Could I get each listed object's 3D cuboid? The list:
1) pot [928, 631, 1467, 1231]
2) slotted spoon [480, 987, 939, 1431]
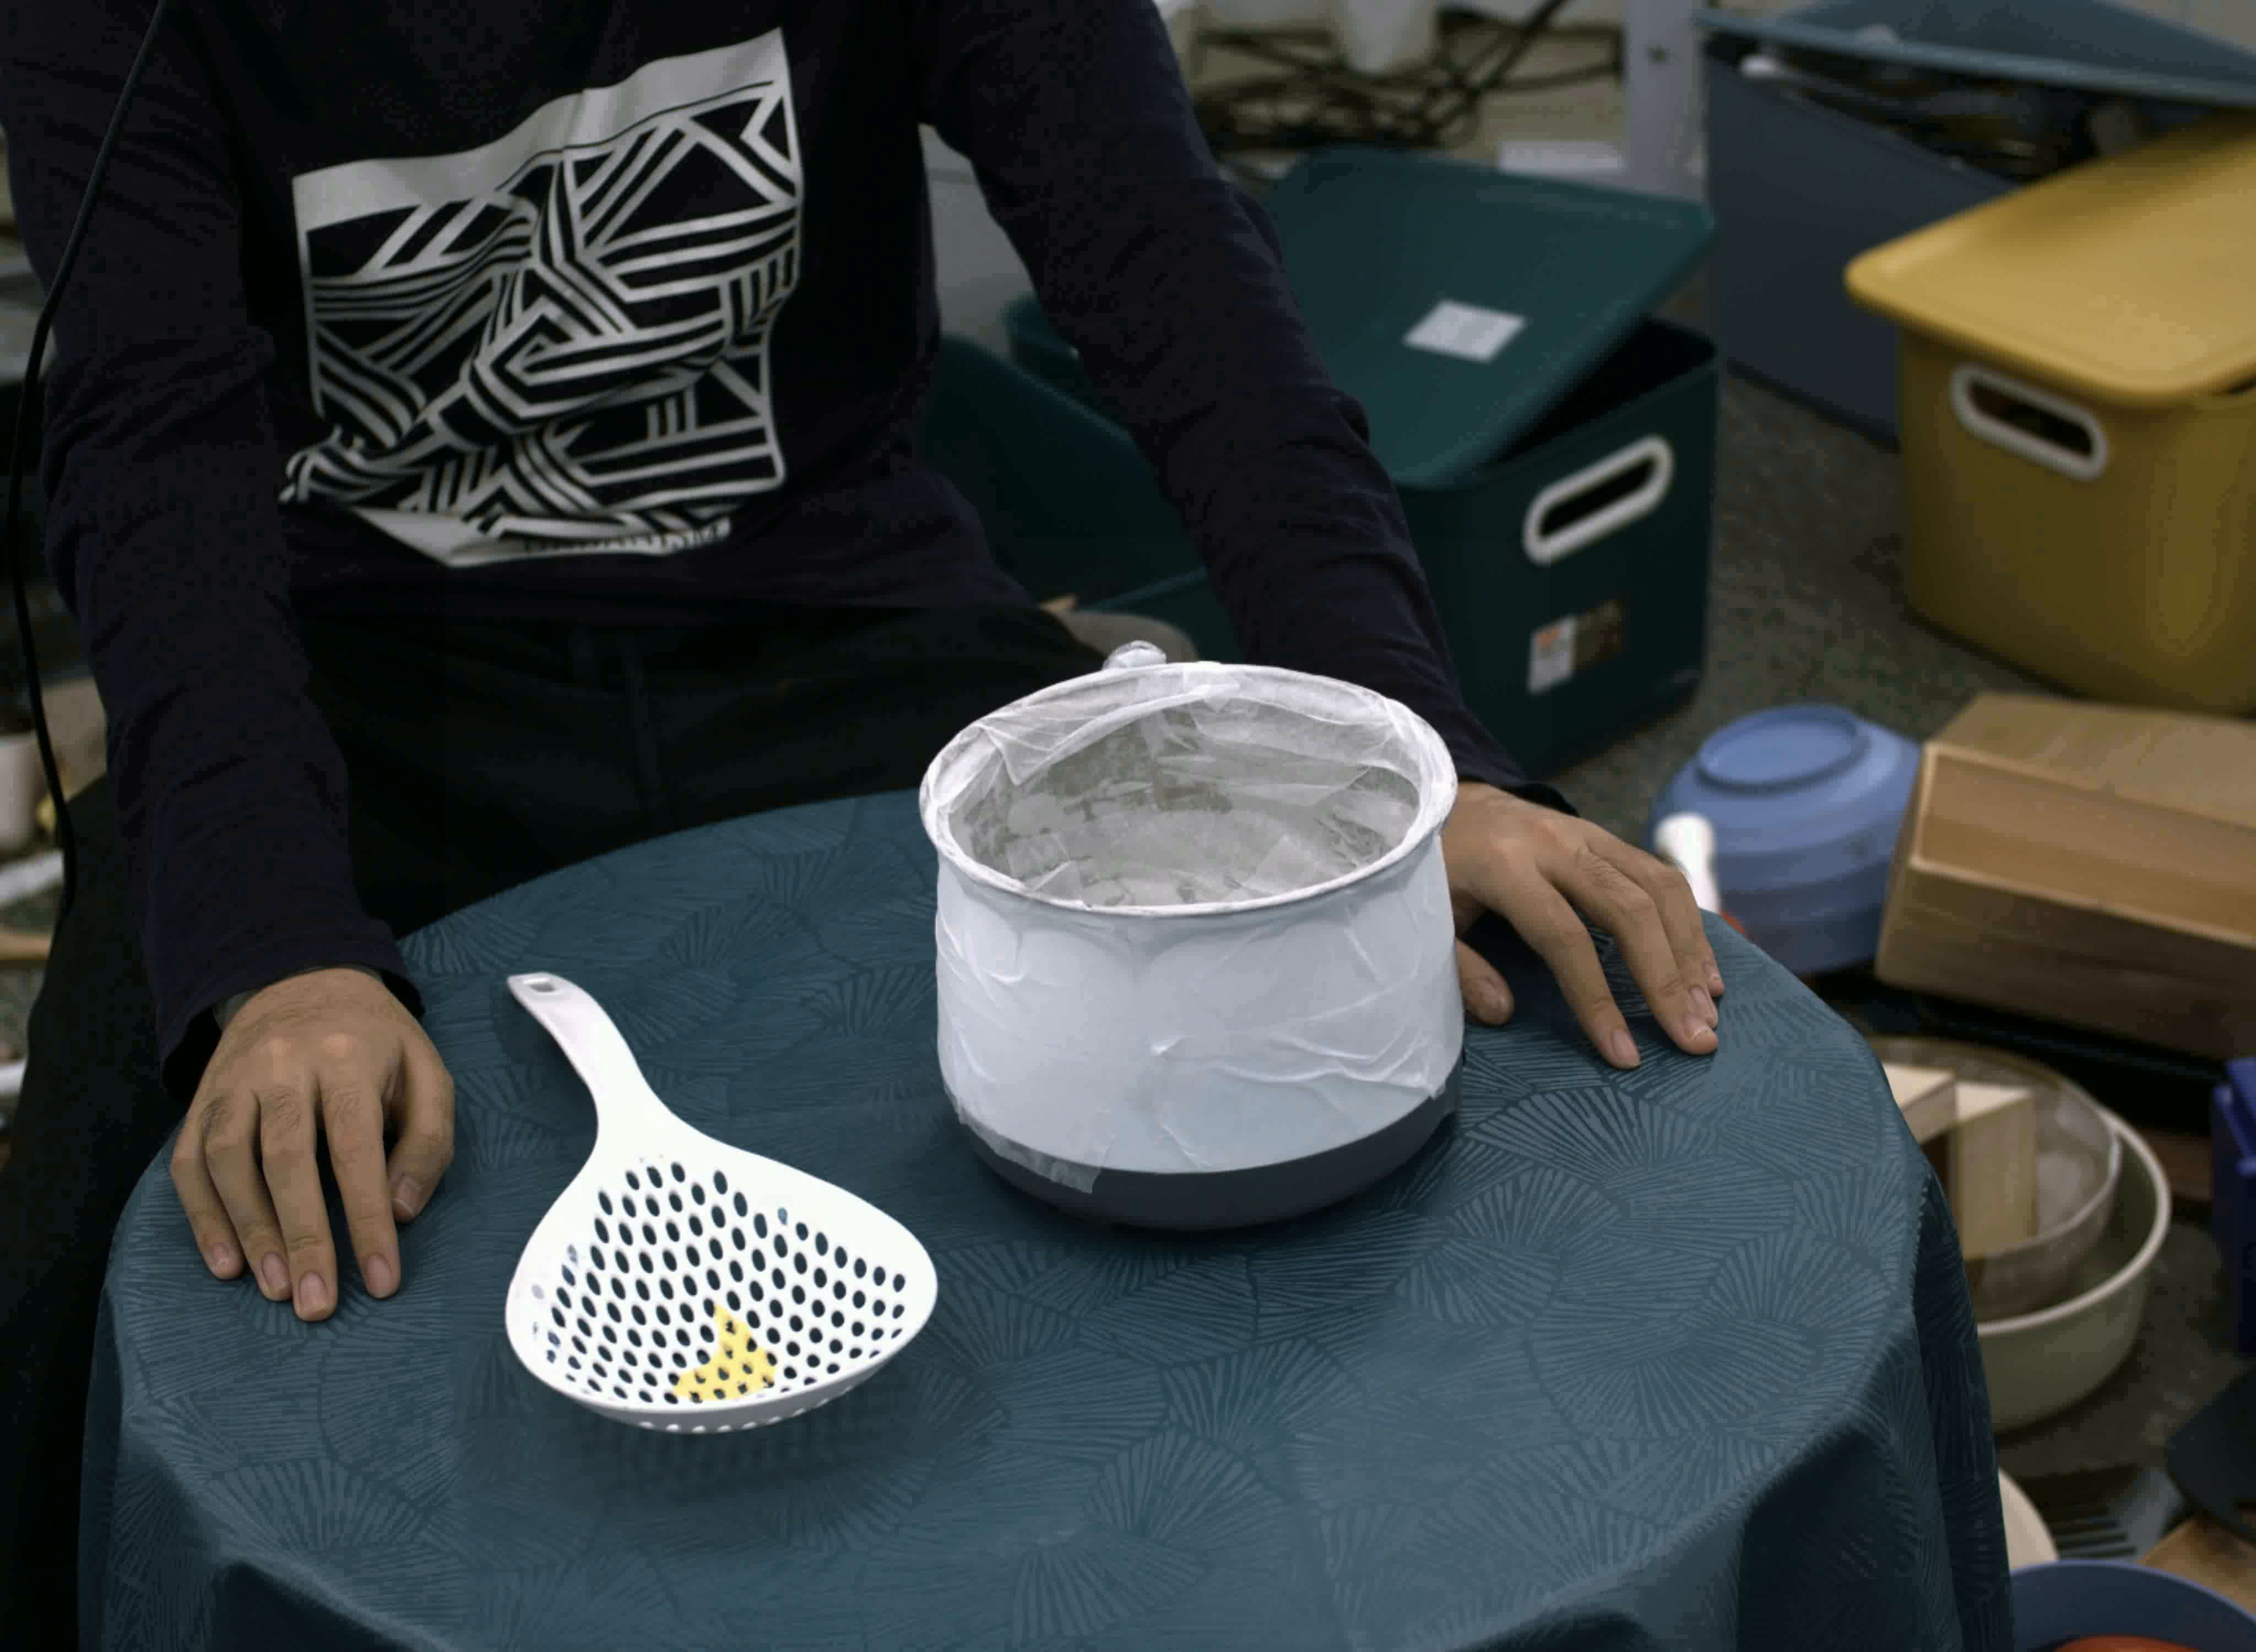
[{"bbox_3d":[0.017,0.028,1.891,0.178,0.135,0.236,-5,28,-10],"label":"pot"},{"bbox_3d":[-0.162,0.113,1.847,0.137,0.050,0.351,-12,29,-15],"label":"slotted spoon"}]
